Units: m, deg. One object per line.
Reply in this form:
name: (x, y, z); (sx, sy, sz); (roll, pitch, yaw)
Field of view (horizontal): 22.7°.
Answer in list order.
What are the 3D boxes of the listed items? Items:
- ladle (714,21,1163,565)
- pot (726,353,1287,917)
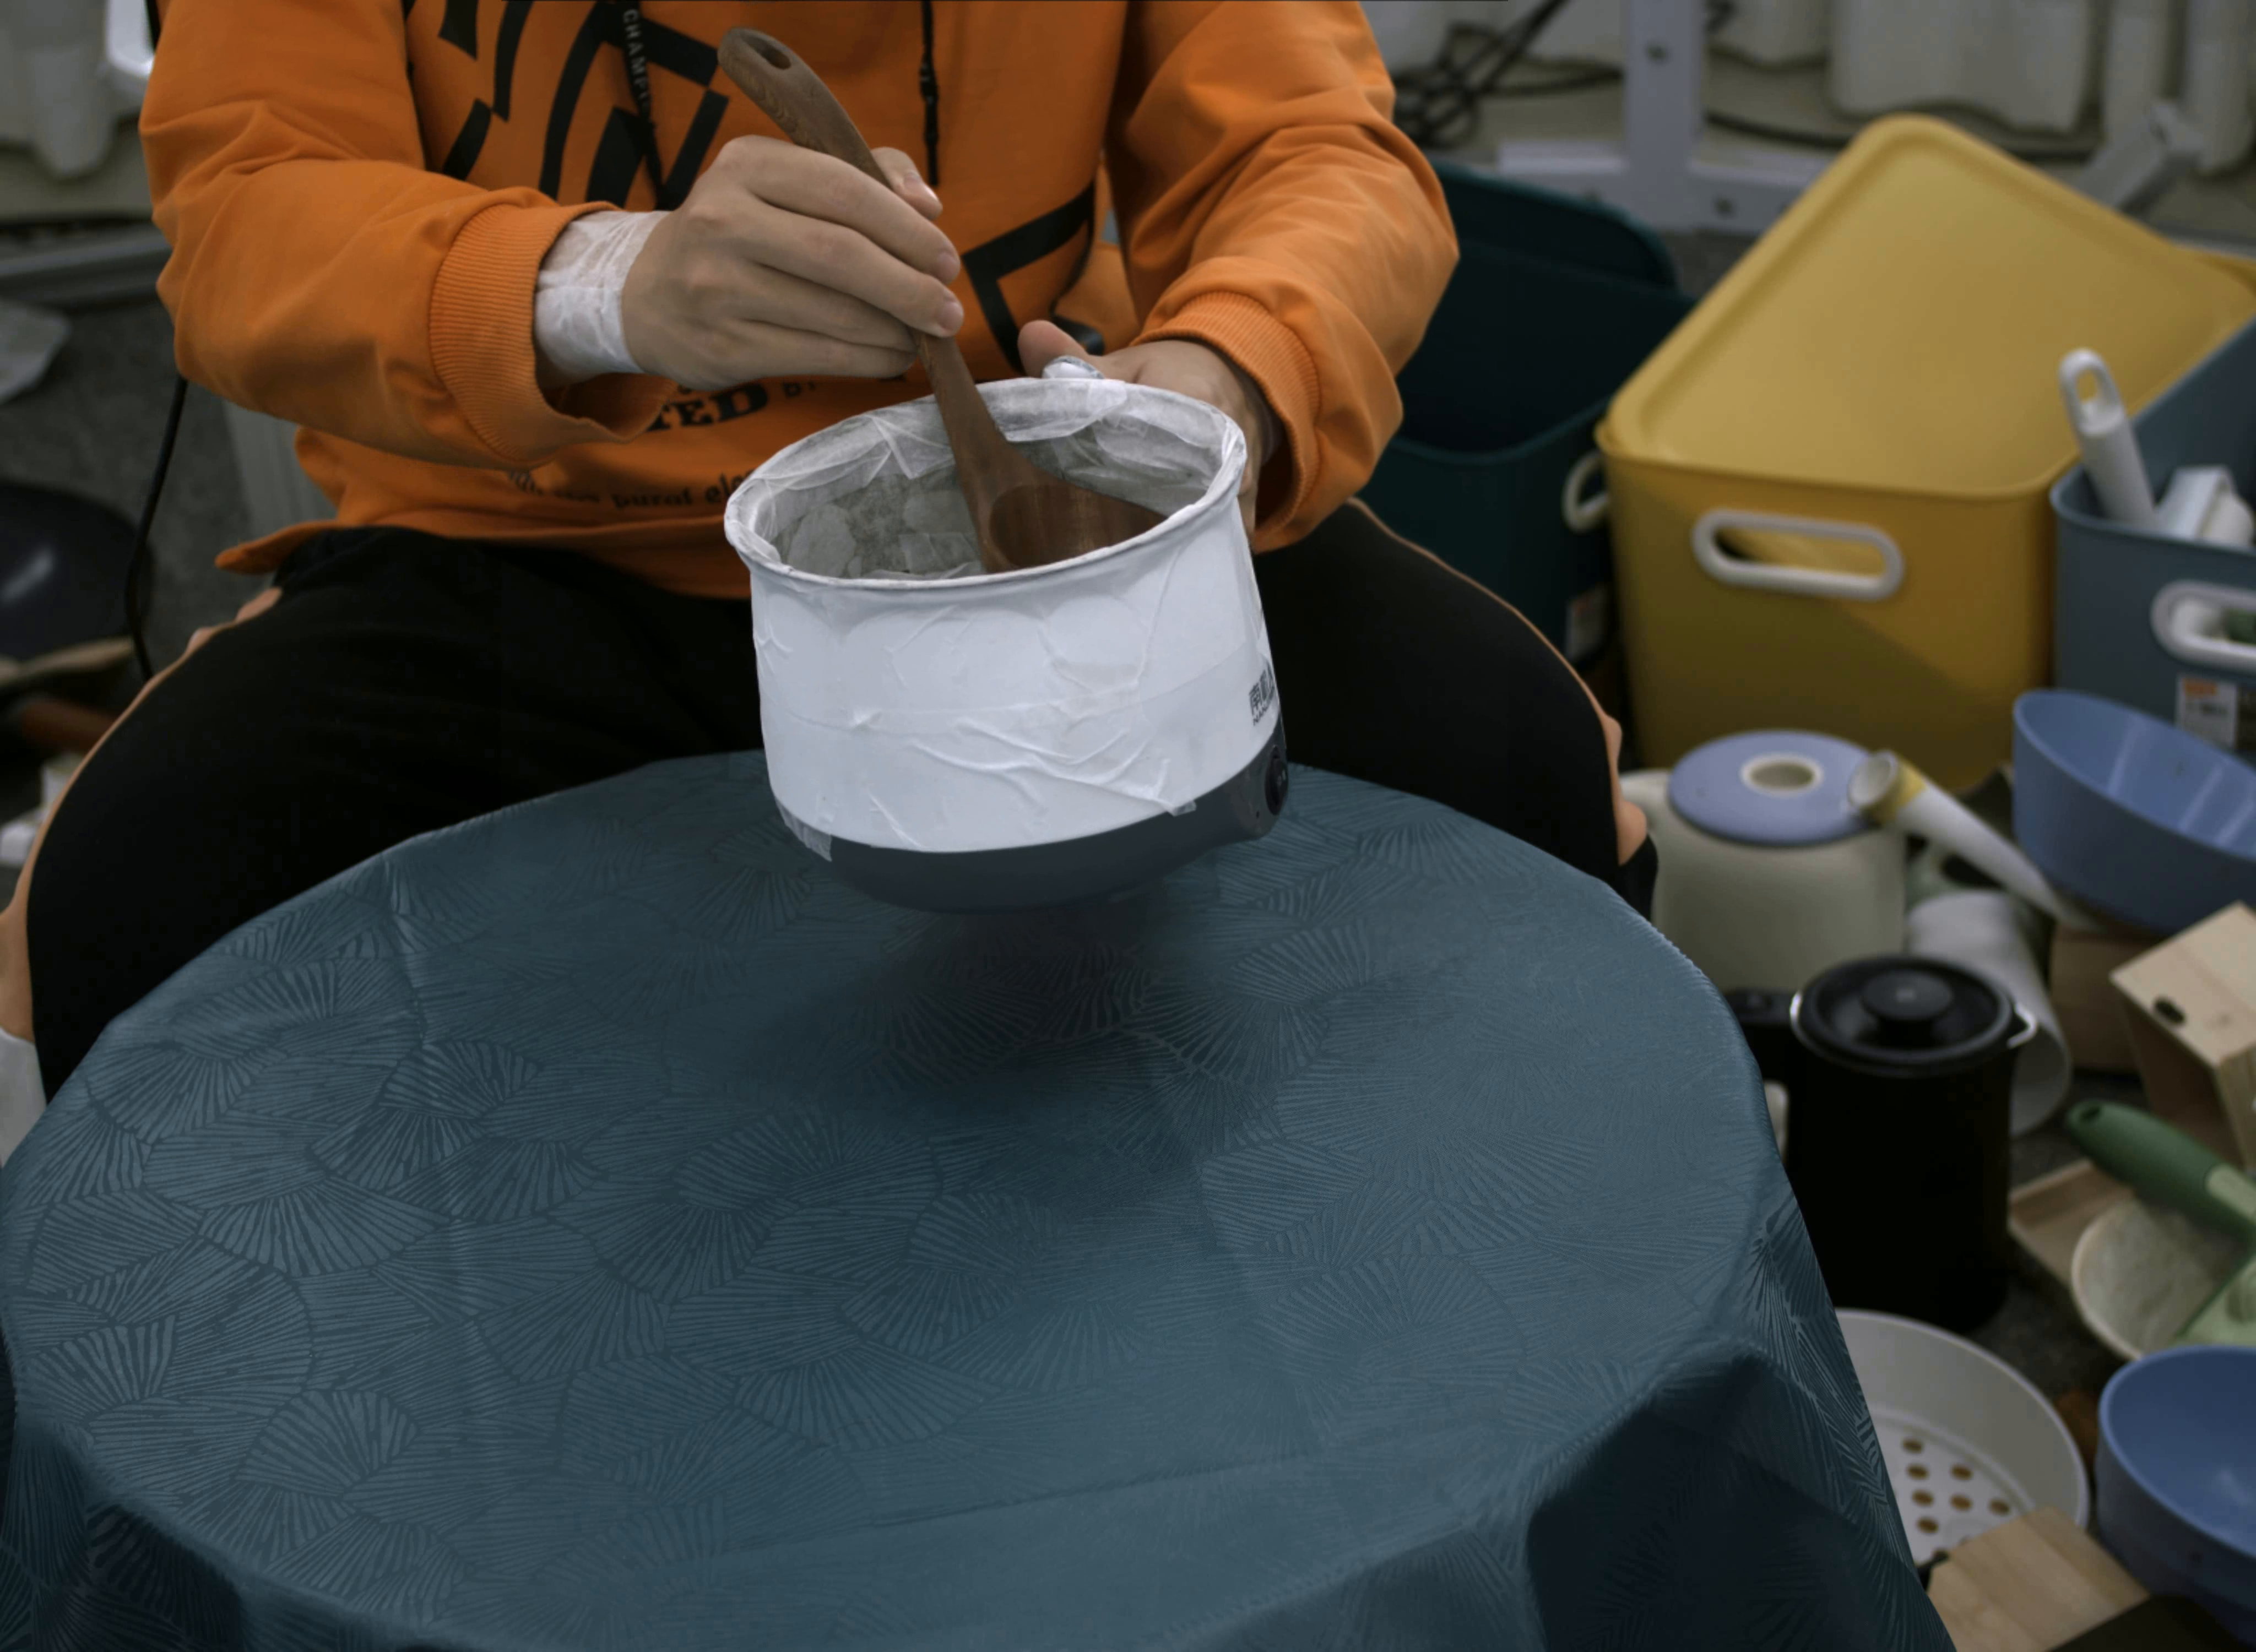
ladle: (-0.063, -0.177, 1.941); (0.077, 0.262, 0.064); (-19, -12, -47)
pot: (-0.033, -0.072, 1.934); (0.177, 0.135, 0.237); (-1, 26, 15)
